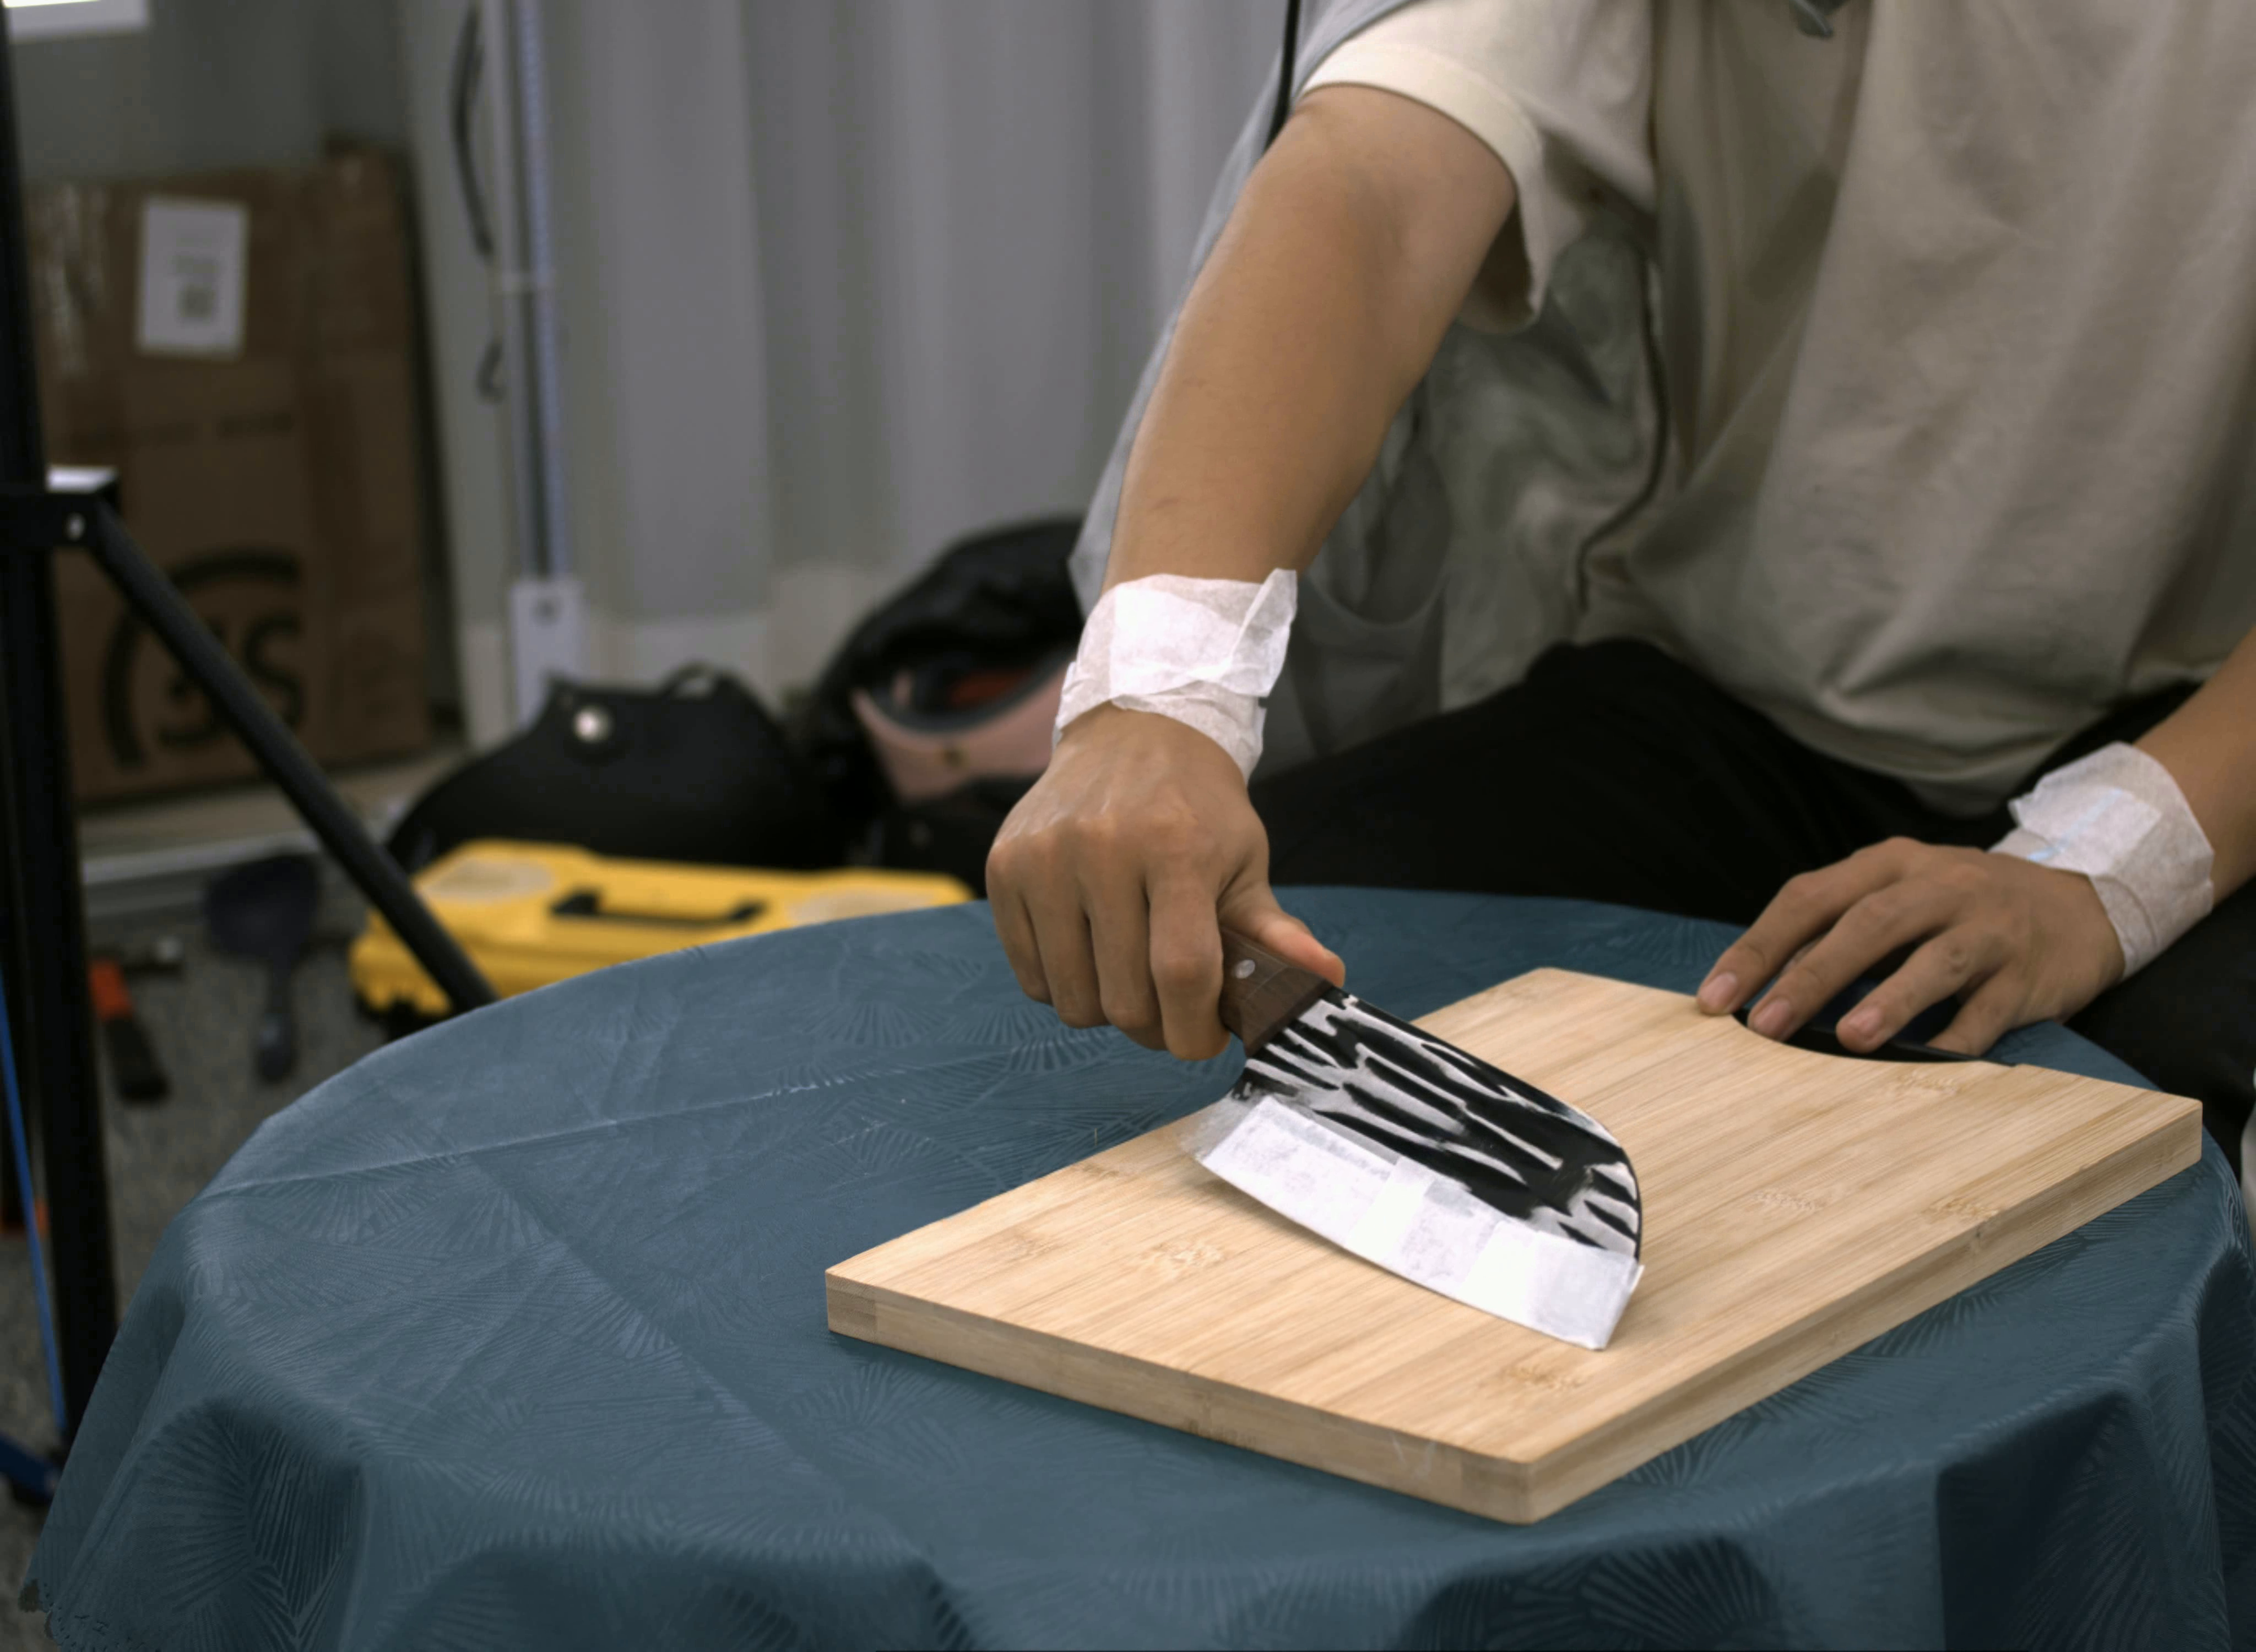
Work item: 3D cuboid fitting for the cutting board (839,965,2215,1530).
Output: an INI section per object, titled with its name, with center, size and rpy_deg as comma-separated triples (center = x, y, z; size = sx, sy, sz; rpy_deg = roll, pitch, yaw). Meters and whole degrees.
[cutting board]
center = 0.120, 0.109, 1.502
size = 0.256, 0.023, 0.341
rpy_deg = 11, 20, 39

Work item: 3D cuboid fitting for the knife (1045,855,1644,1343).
[knife]
center = 0.052, 0.074, 1.494
size = 0.068, 0.023, 0.306
rpy_deg = -47, 37, -12
